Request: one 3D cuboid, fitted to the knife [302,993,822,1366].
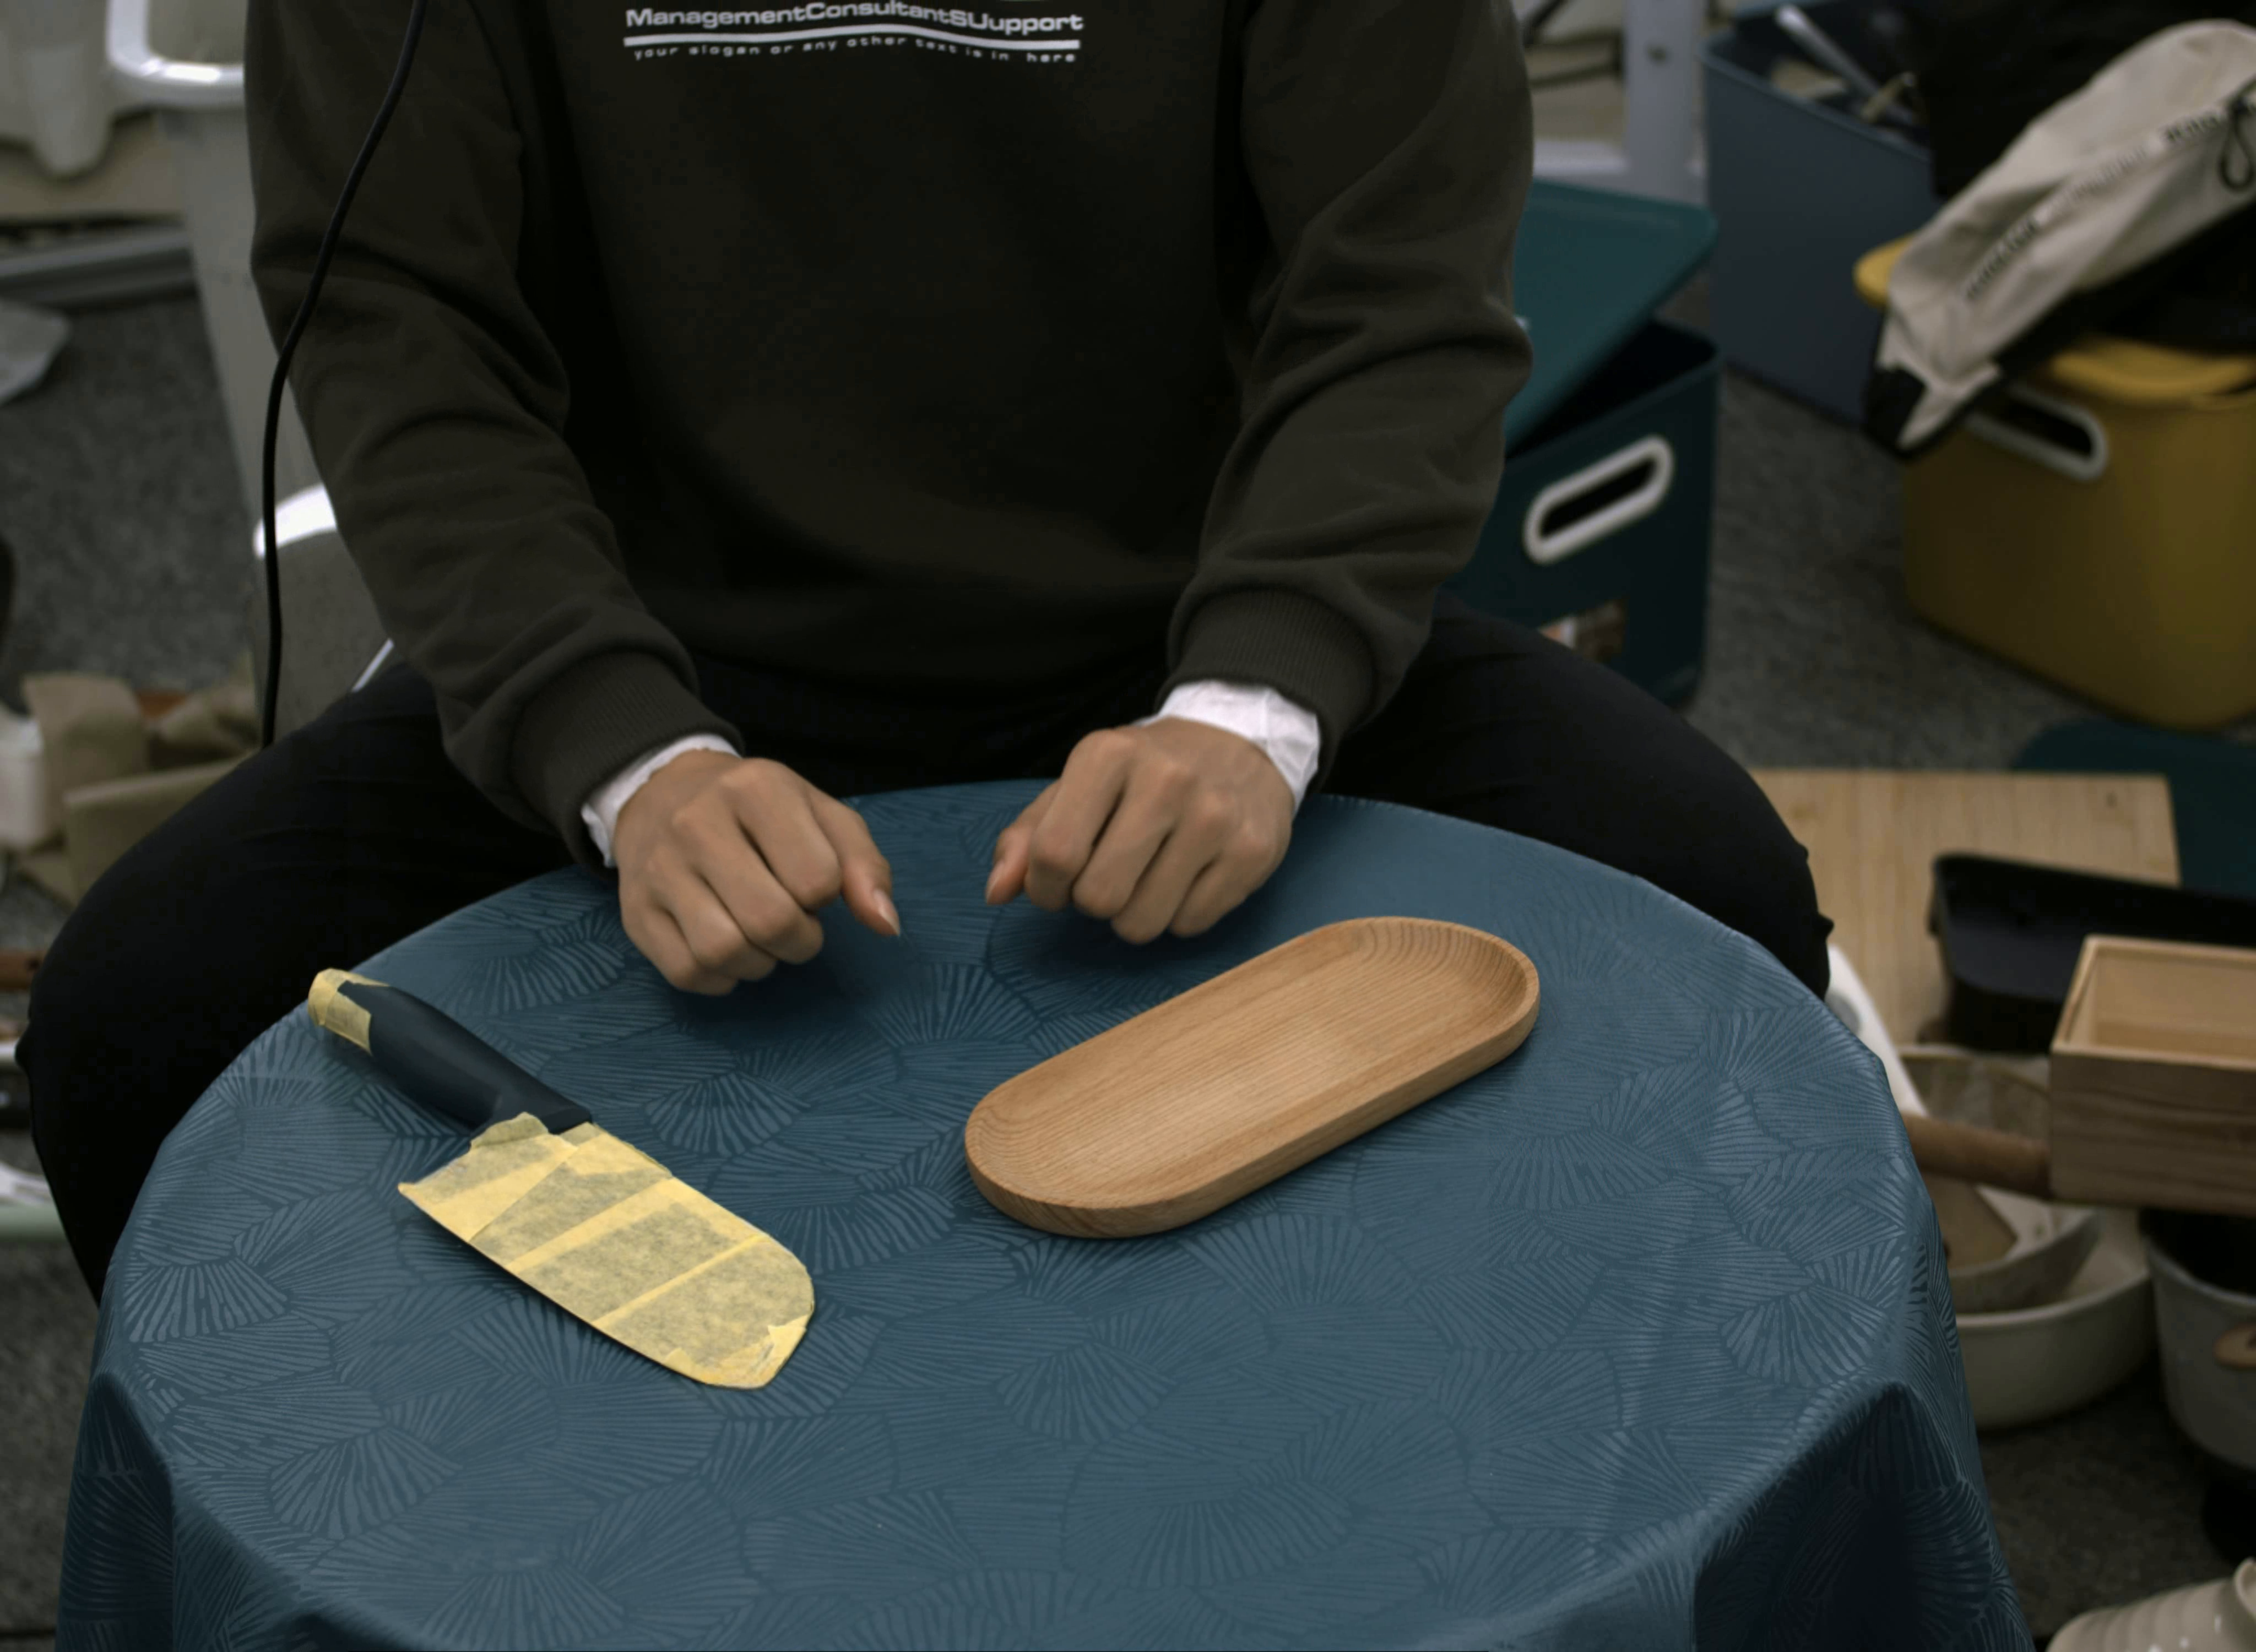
[{"bbox_3d":[-0.200,0.119,1.870,0.082,0.027,0.289,-21,33,-34],"label":"knife"}]

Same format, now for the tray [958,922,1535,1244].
[{"bbox_3d":[0.042,0.086,1.908,0.234,0.020,0.101,-26,34,-36],"label":"tray"}]
